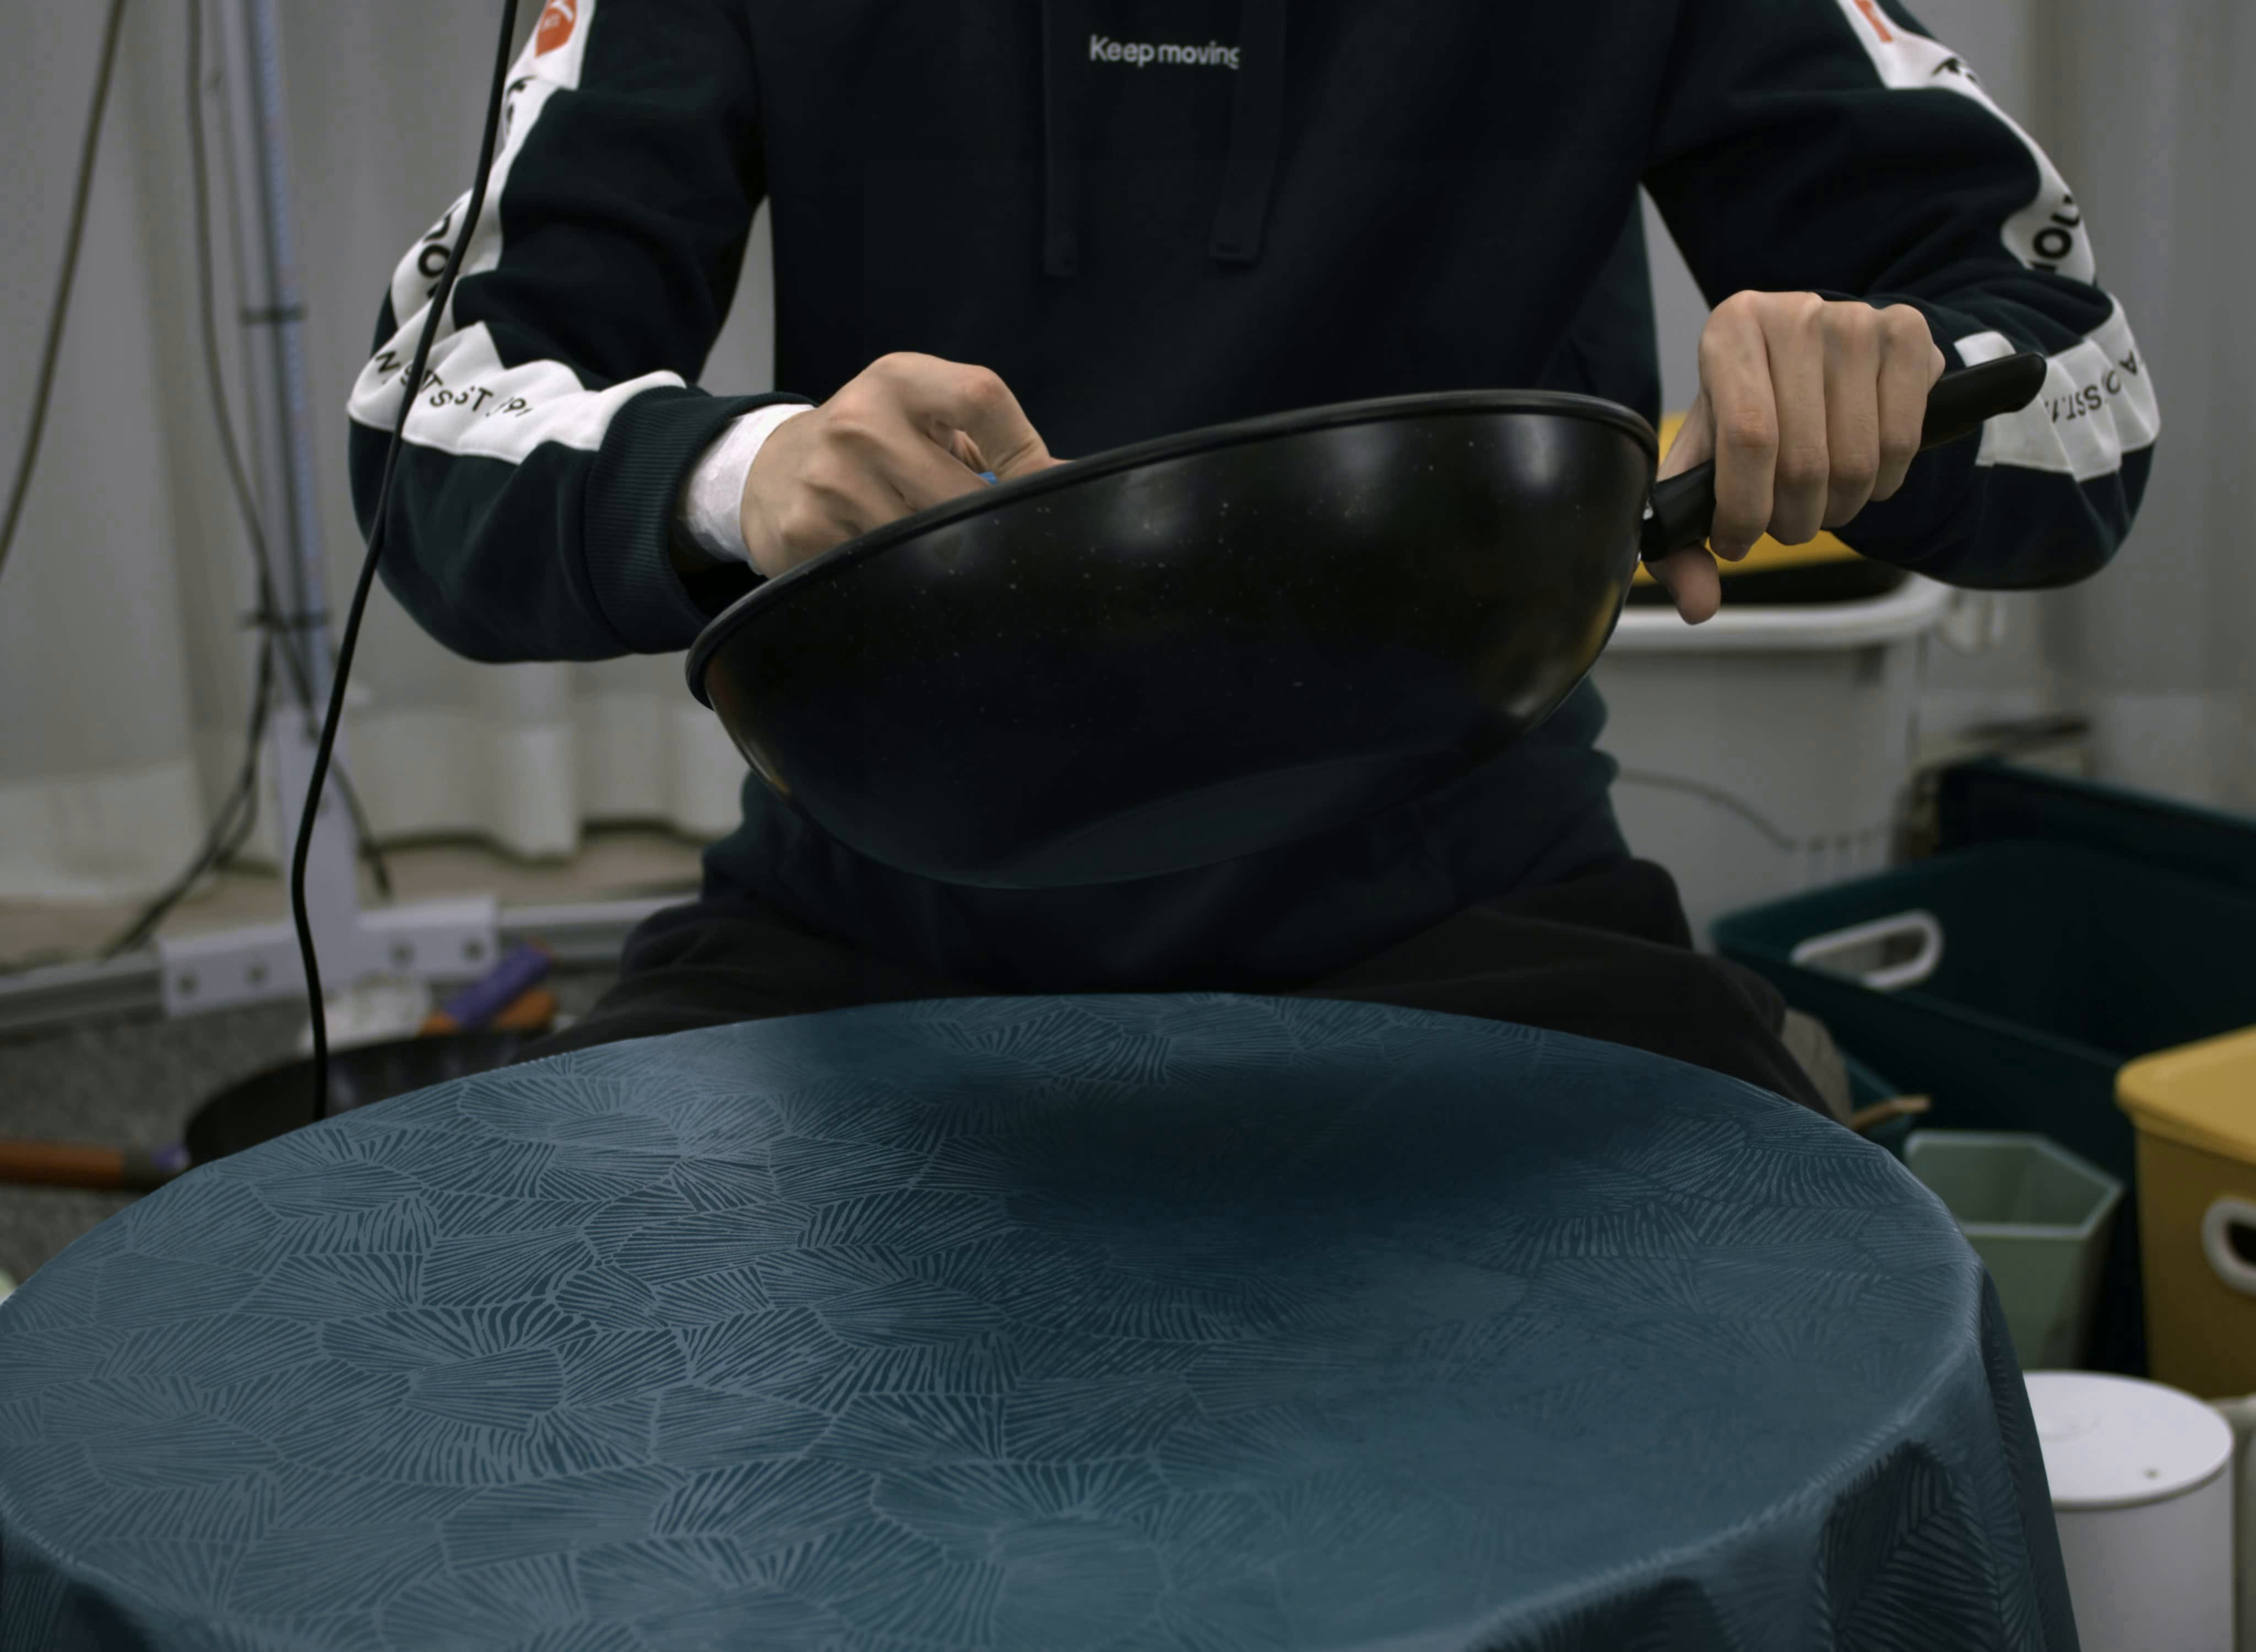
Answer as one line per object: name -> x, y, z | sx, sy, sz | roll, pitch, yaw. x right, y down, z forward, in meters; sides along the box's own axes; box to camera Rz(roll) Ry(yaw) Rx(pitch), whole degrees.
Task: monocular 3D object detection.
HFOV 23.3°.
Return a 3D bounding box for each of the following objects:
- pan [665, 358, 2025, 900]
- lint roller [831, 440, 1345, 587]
pan -> 0.090, -0.063, 1.716 | 0.475, 0.112, 0.309 | -10, -10, -23
lint roller -> -0.013, -0.078, 1.739 | 0.181, 0.067, 0.230 | 19, 28, 19
